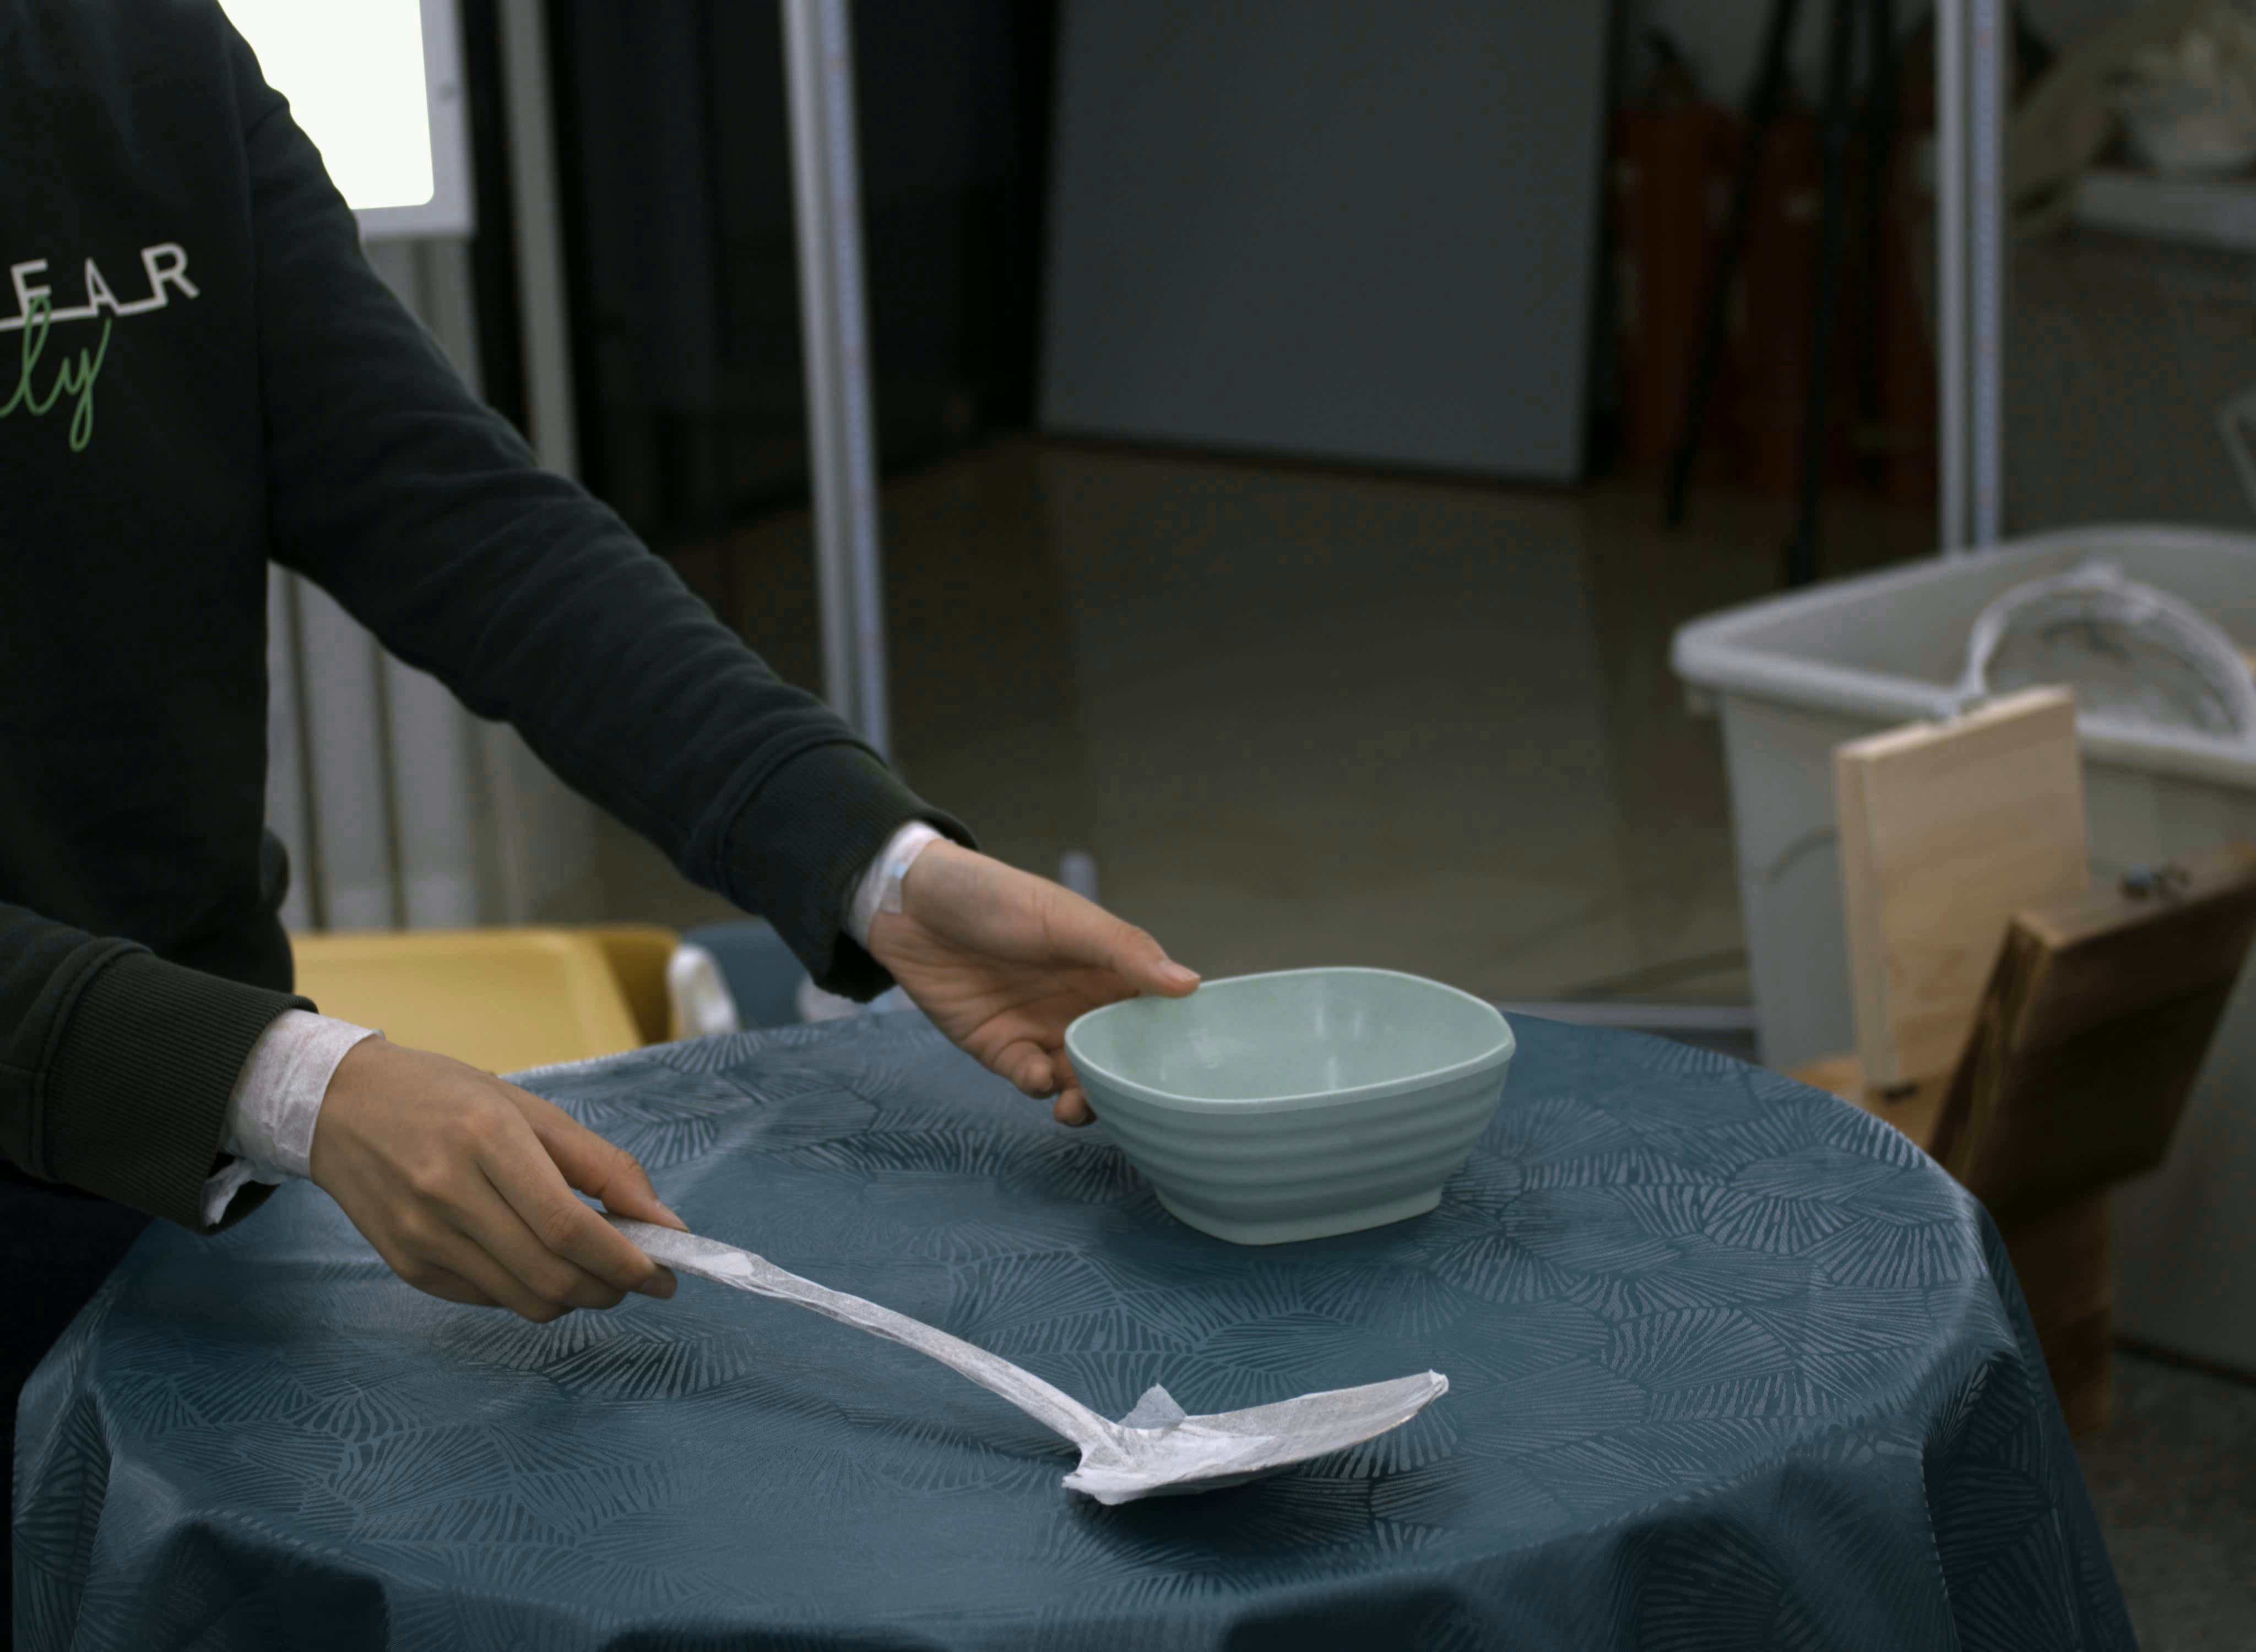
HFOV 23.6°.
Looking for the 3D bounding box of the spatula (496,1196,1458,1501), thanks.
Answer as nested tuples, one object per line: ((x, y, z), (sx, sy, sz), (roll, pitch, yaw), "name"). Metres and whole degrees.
((-0.065, 0.142, 1.579), (0.368, 0.045, 0.097), (16, 24, 39), "spatula")

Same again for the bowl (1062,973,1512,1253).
((0.052, 0.096, 1.746), (0.149, 0.059, 0.152), (-2, 14, 0), "bowl")
